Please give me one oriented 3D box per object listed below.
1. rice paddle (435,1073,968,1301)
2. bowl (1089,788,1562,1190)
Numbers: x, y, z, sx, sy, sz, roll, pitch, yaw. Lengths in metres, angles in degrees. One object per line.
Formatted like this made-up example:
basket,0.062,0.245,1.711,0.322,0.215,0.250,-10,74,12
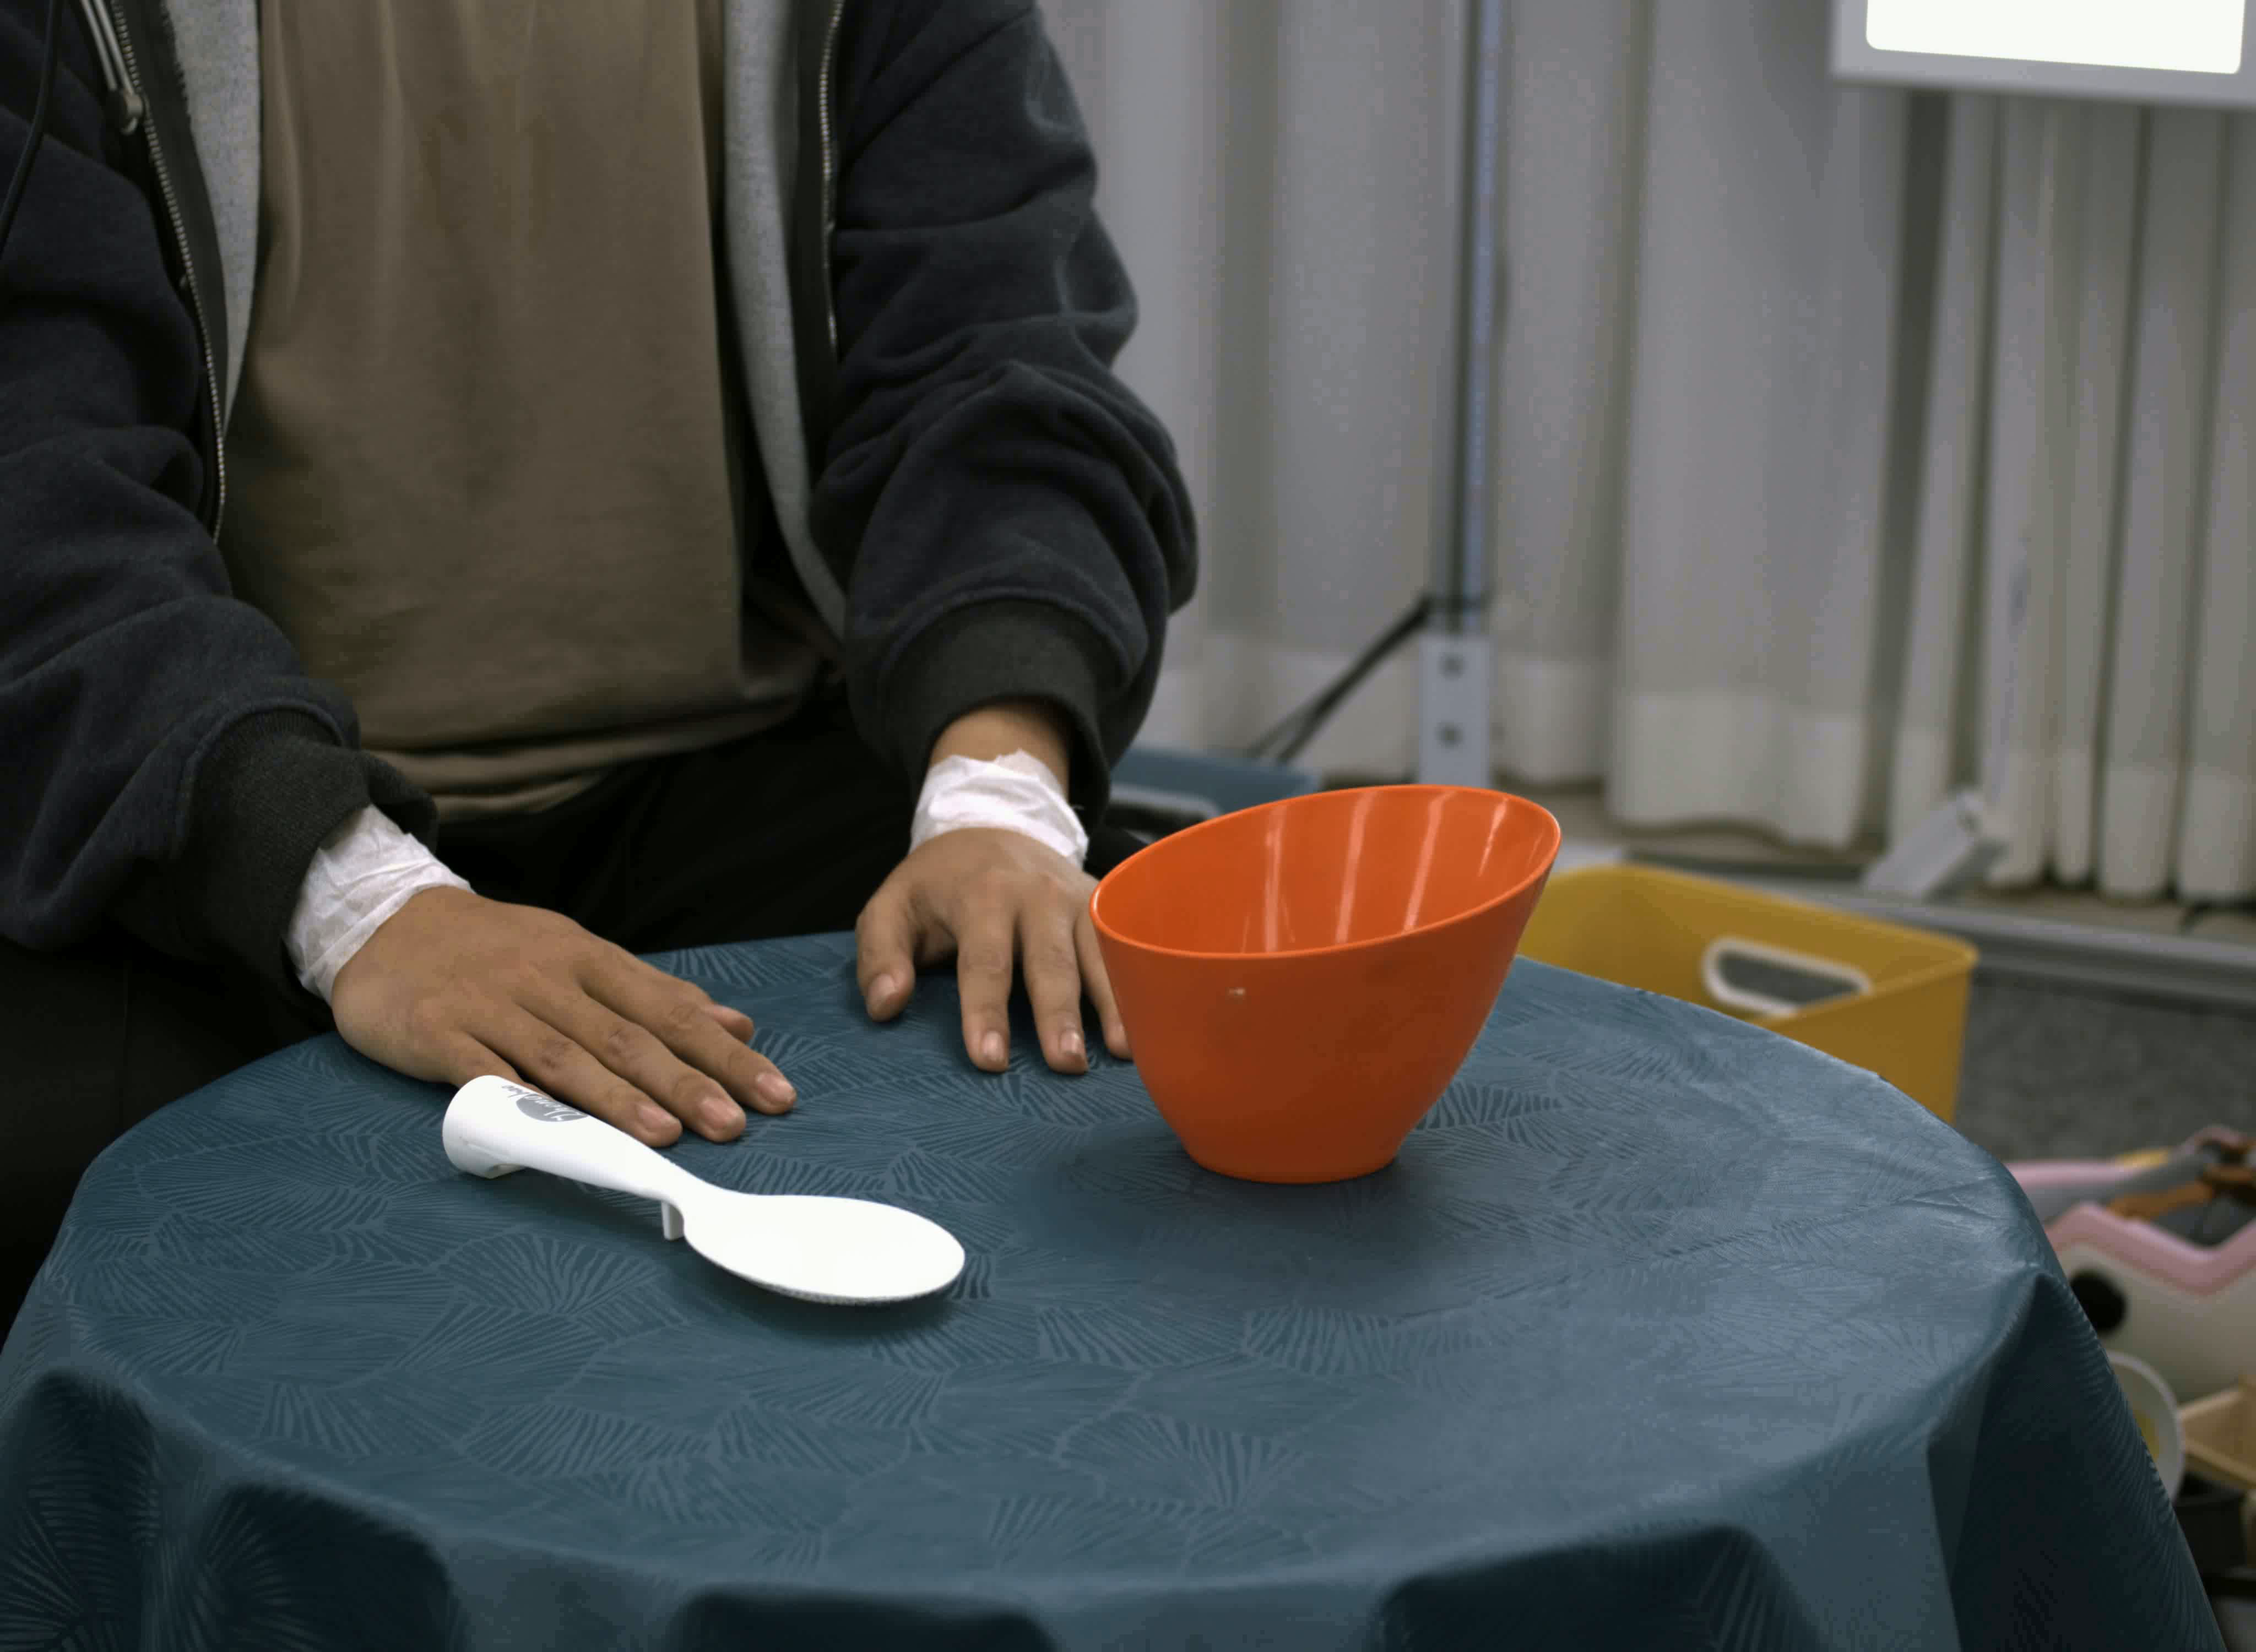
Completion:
rice paddle,-0.129,0.109,1.571,0.202,0.029,0.069,14,22,40
bowl,0.062,0.053,1.648,0.147,0.105,0.147,0,17,1
